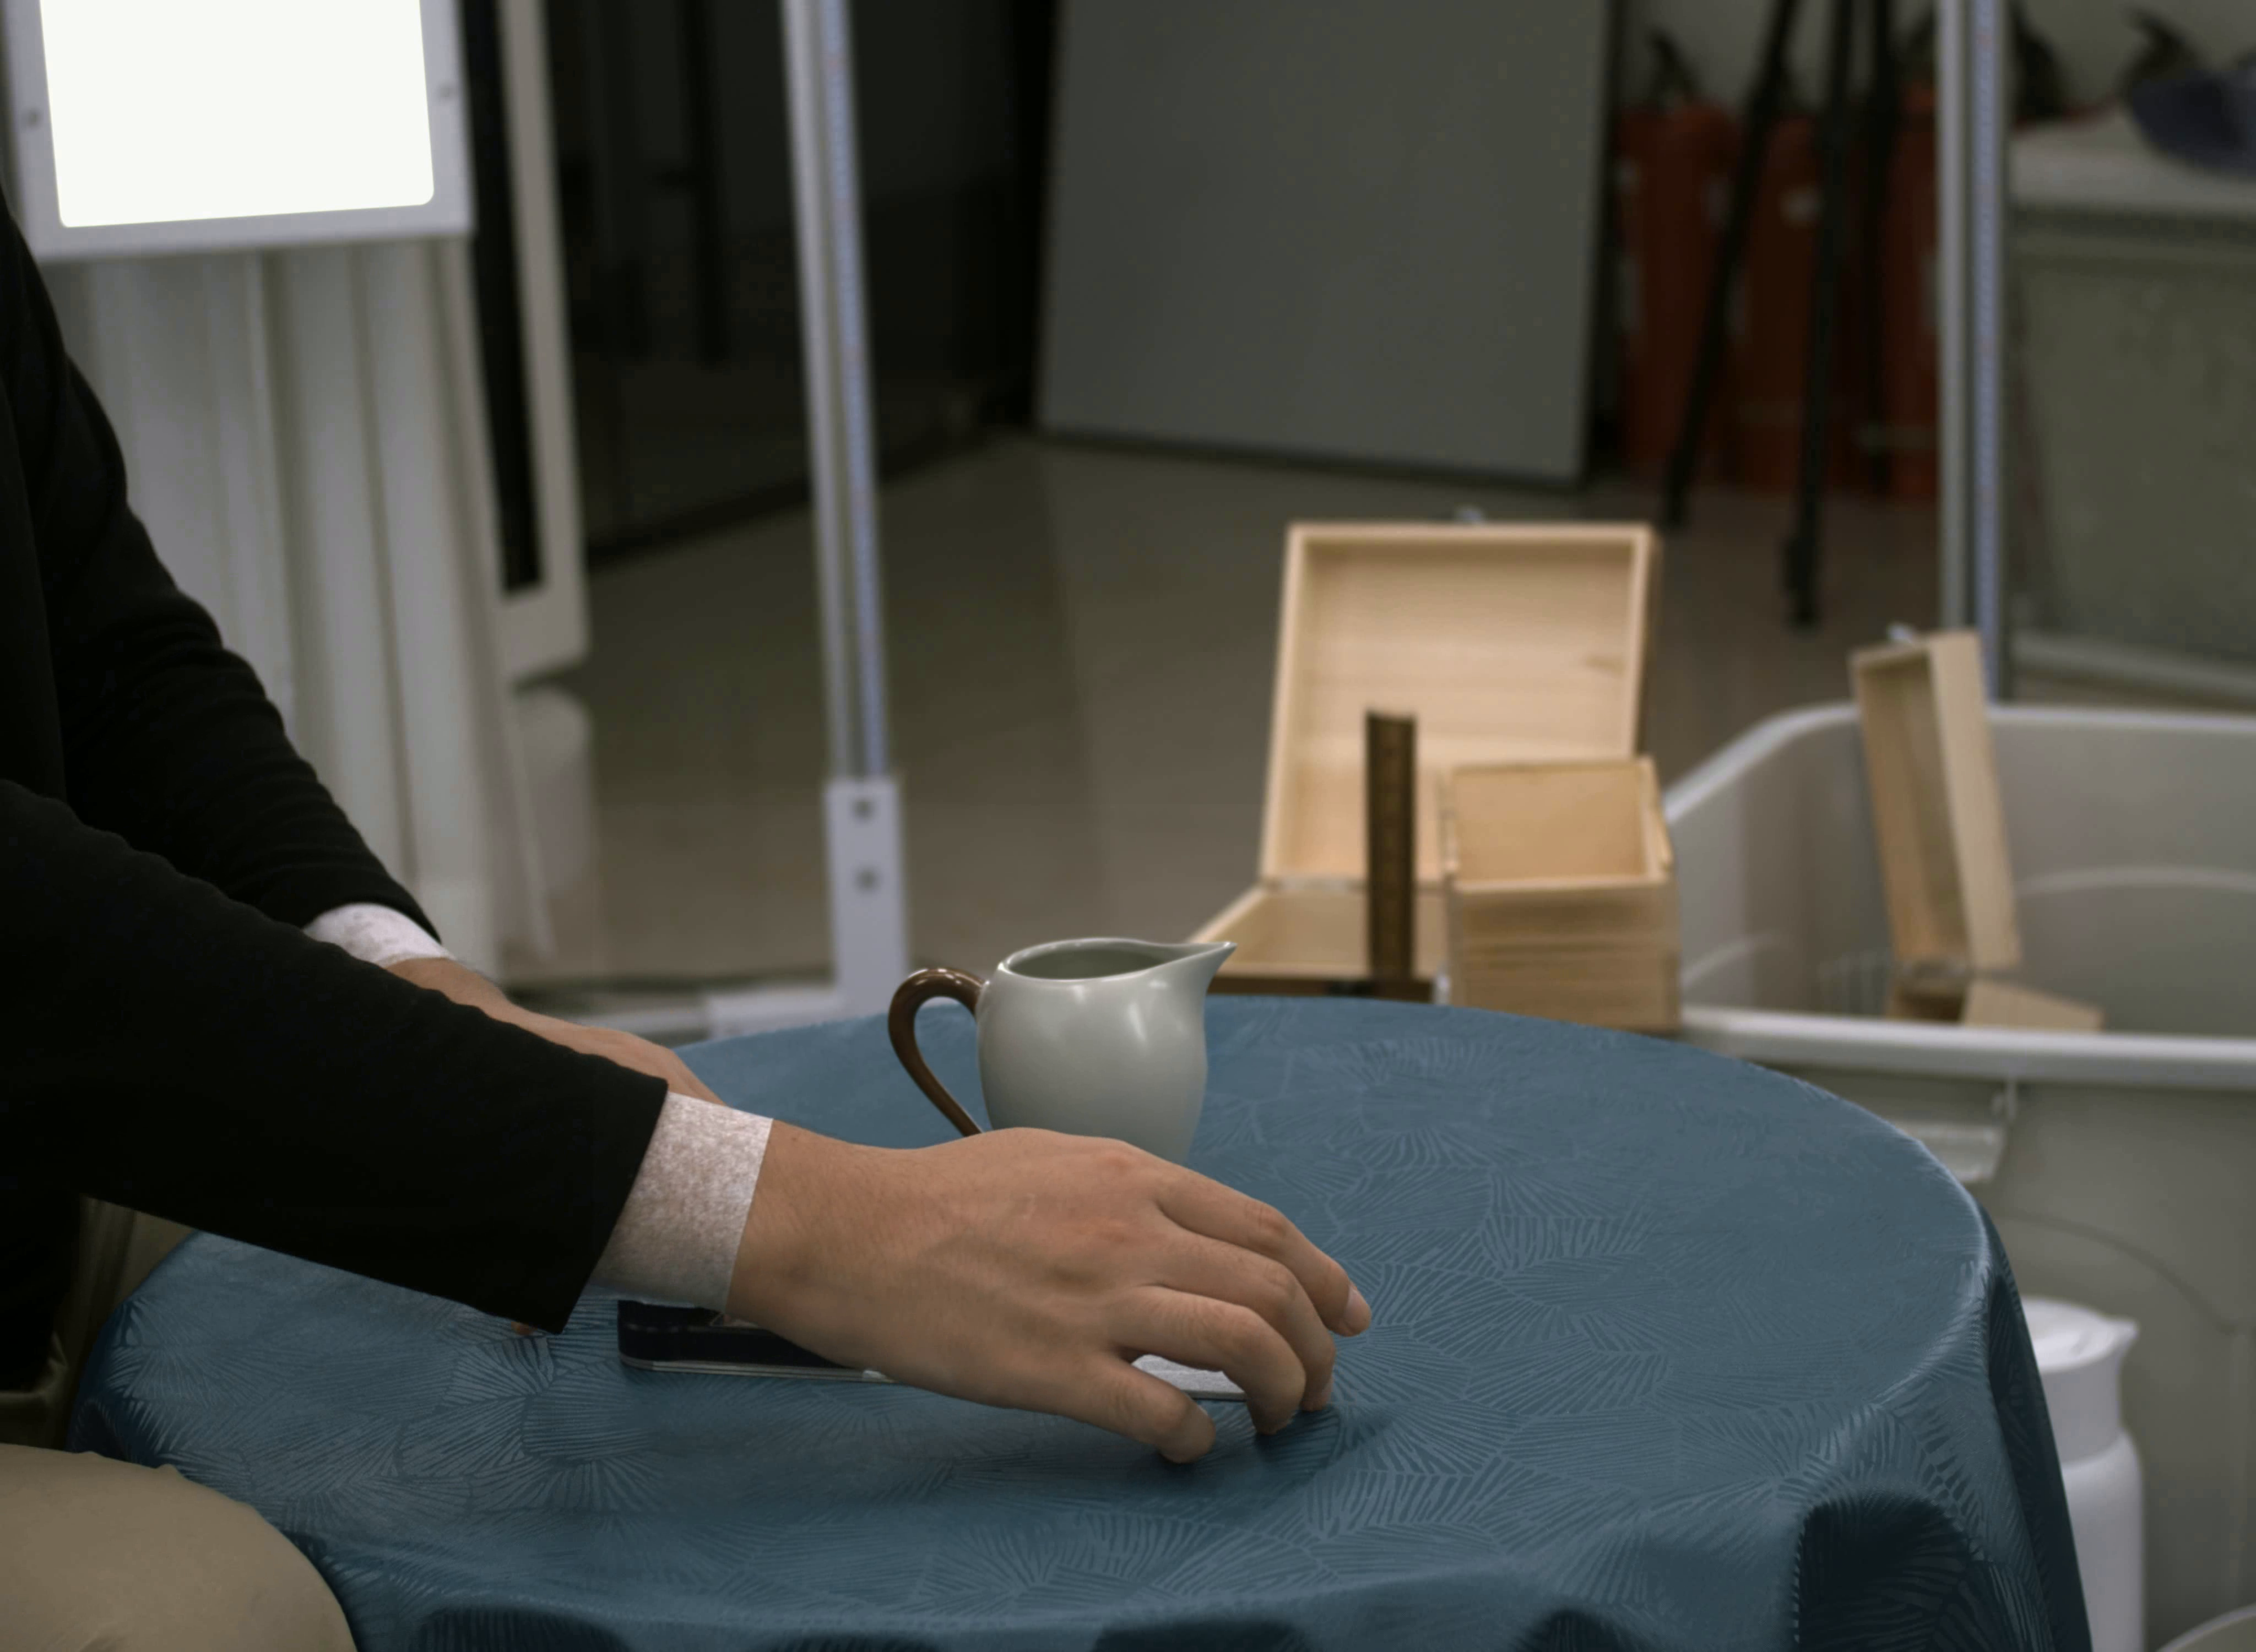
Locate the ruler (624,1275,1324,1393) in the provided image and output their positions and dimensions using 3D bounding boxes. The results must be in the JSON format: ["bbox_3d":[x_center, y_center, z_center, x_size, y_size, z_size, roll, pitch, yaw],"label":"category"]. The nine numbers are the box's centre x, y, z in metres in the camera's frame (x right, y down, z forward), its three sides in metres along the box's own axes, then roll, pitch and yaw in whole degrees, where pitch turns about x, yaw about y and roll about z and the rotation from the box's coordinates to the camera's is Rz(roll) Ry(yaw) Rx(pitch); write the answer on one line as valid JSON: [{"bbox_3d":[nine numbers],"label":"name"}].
[{"bbox_3d":[-0.049,0.151,1.612,0.217,0.024,0.038,-1,21,19],"label":"ruler"}]

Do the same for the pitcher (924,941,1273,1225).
[{"bbox_3d":[-0.009,0.081,1.753,0.119,0.089,0.075,1,11,16],"label":"pitcher"}]
